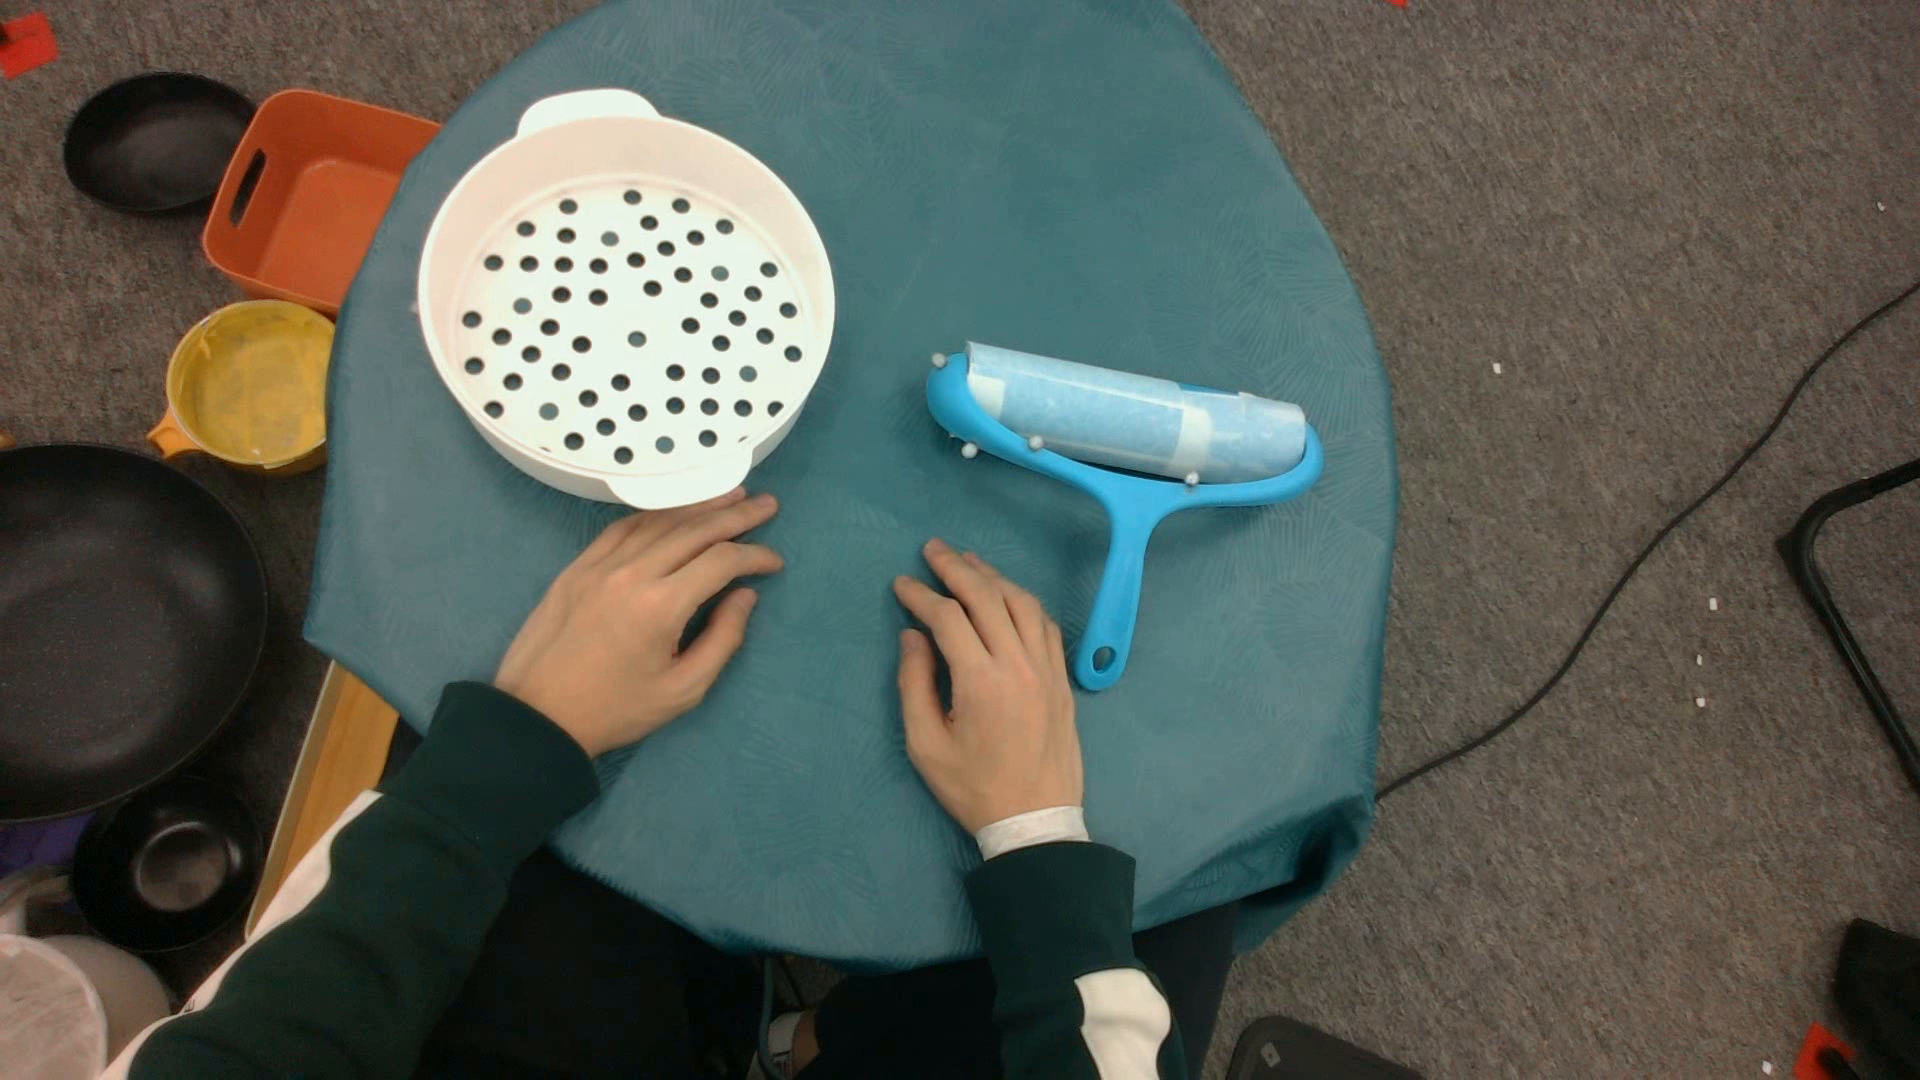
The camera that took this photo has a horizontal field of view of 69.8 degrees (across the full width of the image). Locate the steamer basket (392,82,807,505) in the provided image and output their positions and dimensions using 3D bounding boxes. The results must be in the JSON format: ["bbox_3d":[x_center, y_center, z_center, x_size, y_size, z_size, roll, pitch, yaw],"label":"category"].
[{"bbox_3d":[-0.184,-0.122,0.718,0.202,0.069,0.231,-16,79,-15],"label":"steamer basket"}]

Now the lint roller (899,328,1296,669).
[{"bbox_3d":[0.079,-0.024,0.754,0.229,0.067,0.181,4,72,-14],"label":"lint roller"}]
